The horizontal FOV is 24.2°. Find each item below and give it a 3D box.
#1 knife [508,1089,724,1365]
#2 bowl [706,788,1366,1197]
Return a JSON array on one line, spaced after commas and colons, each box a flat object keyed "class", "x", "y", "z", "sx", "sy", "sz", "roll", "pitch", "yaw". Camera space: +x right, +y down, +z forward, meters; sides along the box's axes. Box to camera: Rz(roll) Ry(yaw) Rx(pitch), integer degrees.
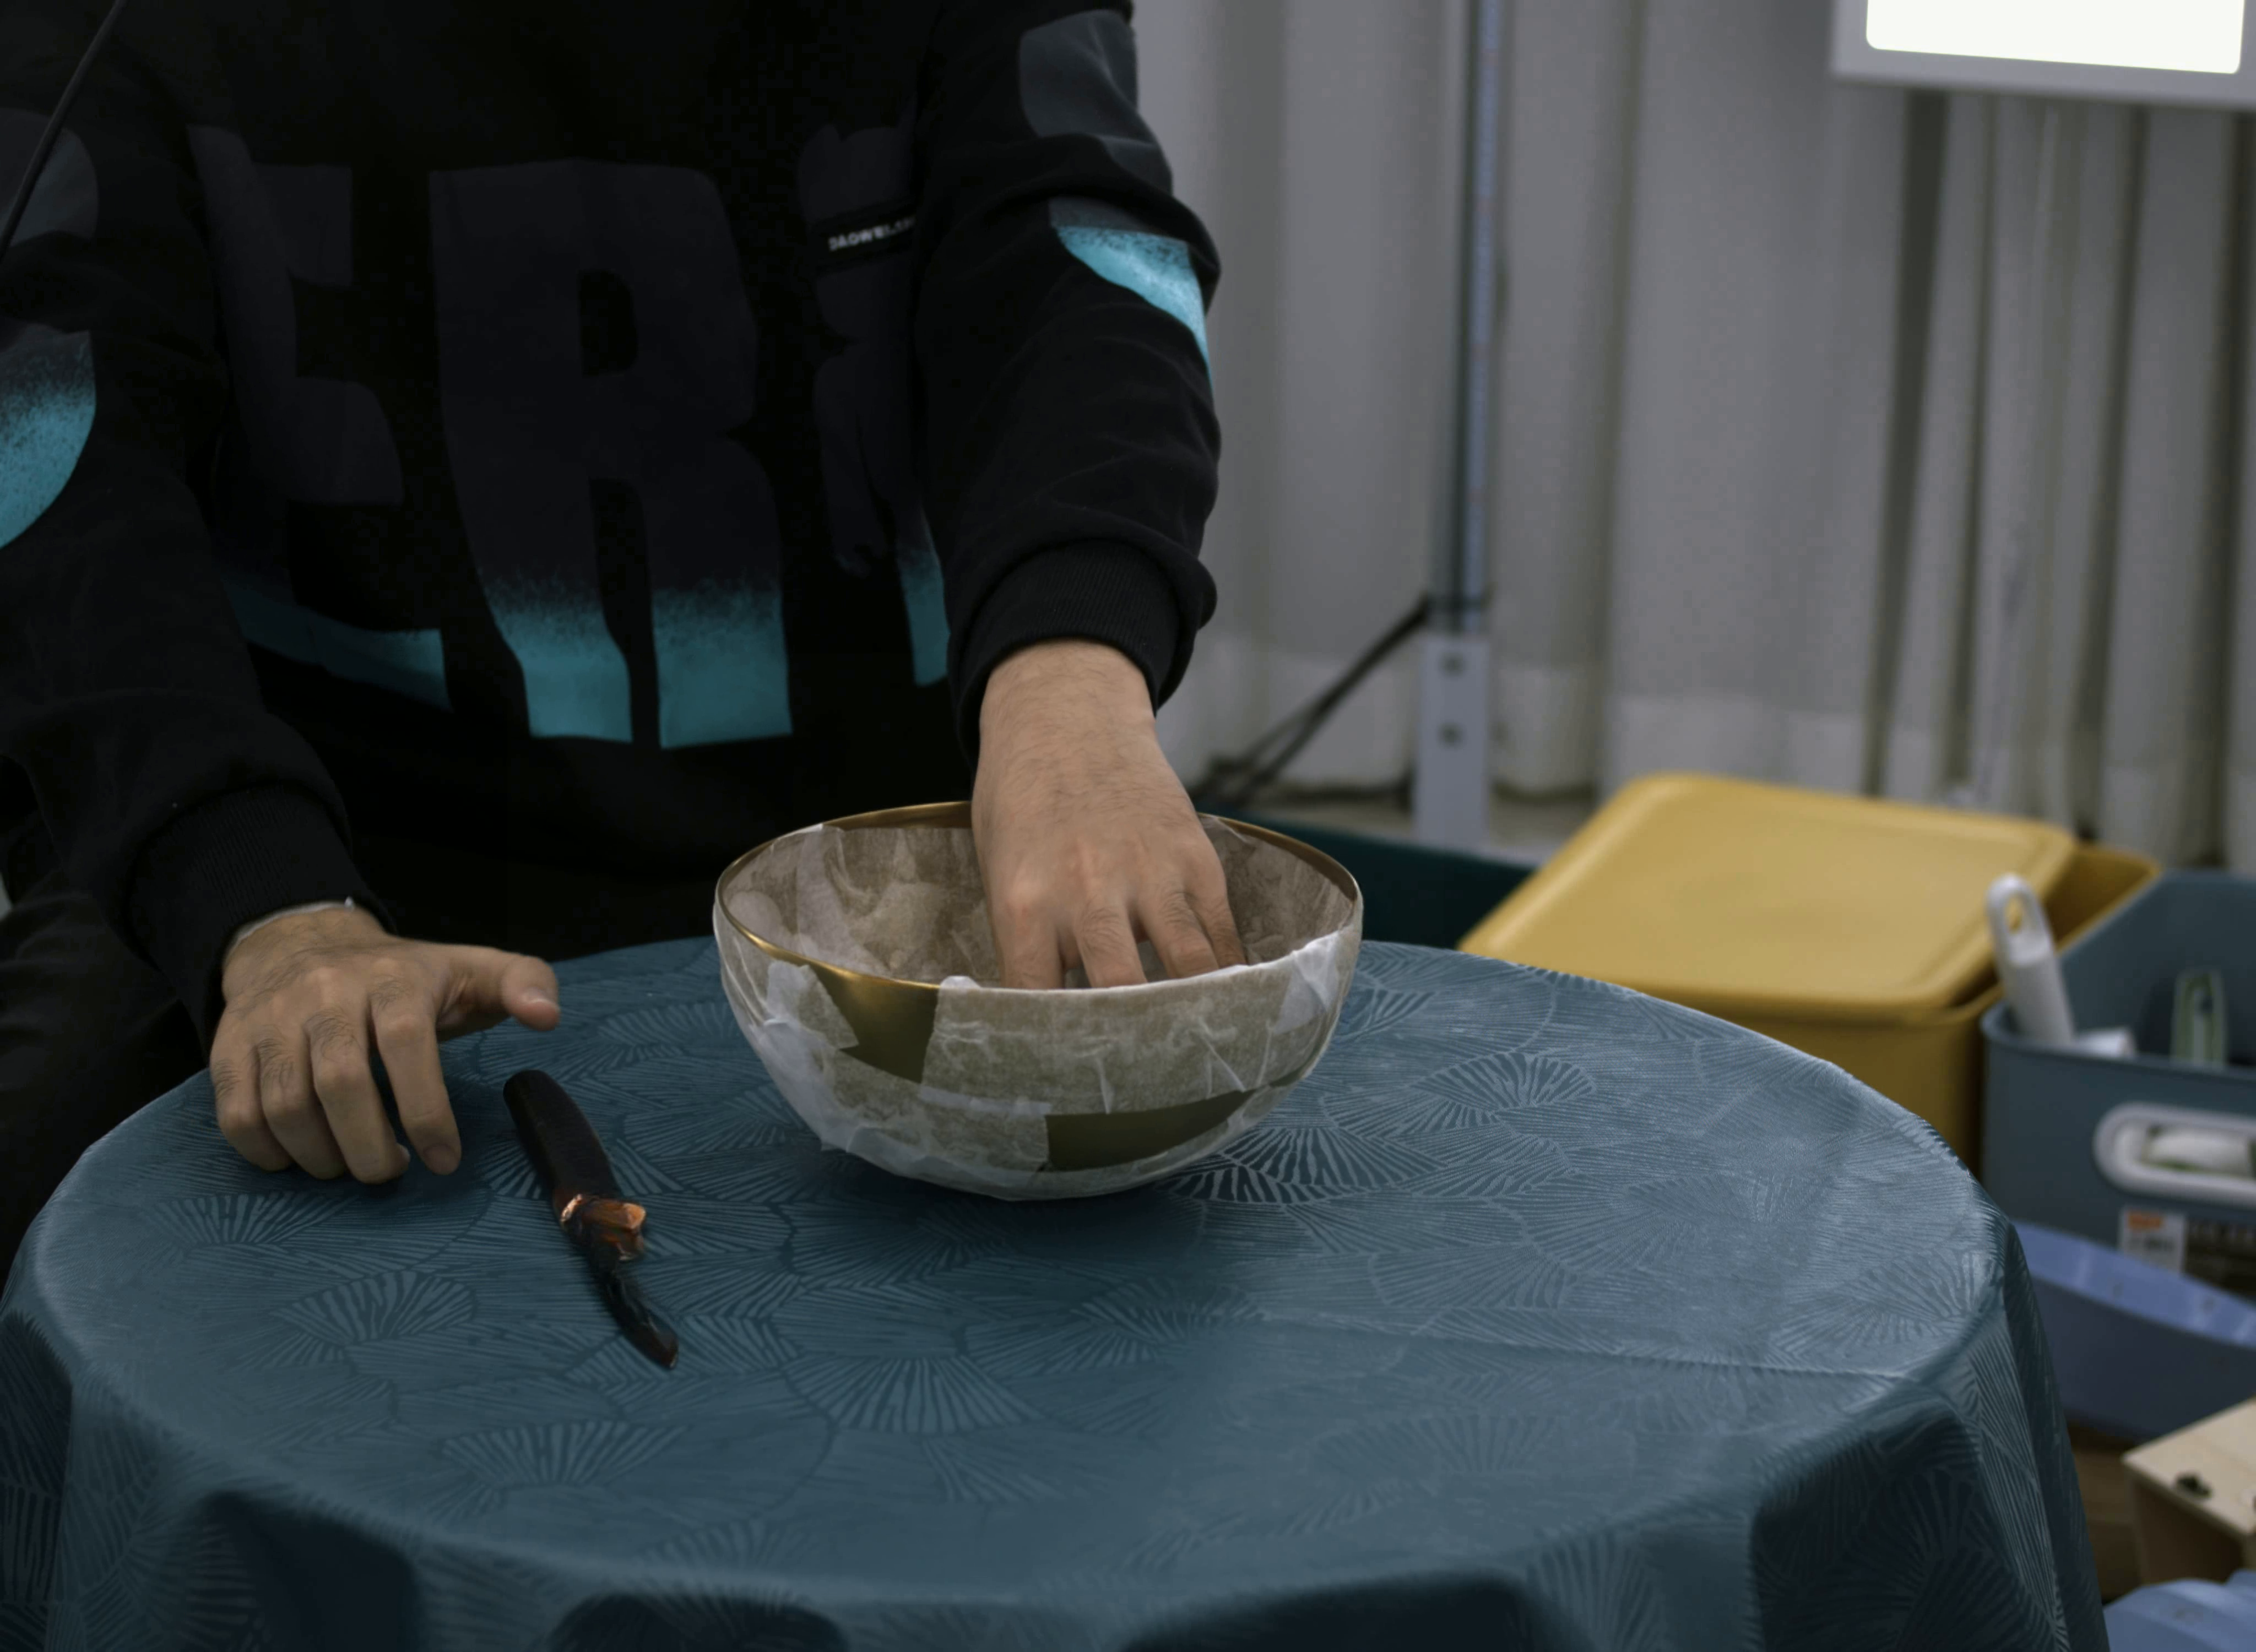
[{"class": "knife", "x": -0.155, "y": 0.119, "z": 1.575, "sx": 0.026, "sy": 0.017, "sz": 0.223, "roll": 2, "pitch": 15, "yaw": -19}, {"class": "bowl", "x": -0.028, "y": 0.059, "z": 1.635, "sx": 0.214, "sy": 0.095, "sz": 0.213, "roll": 0, "pitch": 17, "yaw": 1}]
